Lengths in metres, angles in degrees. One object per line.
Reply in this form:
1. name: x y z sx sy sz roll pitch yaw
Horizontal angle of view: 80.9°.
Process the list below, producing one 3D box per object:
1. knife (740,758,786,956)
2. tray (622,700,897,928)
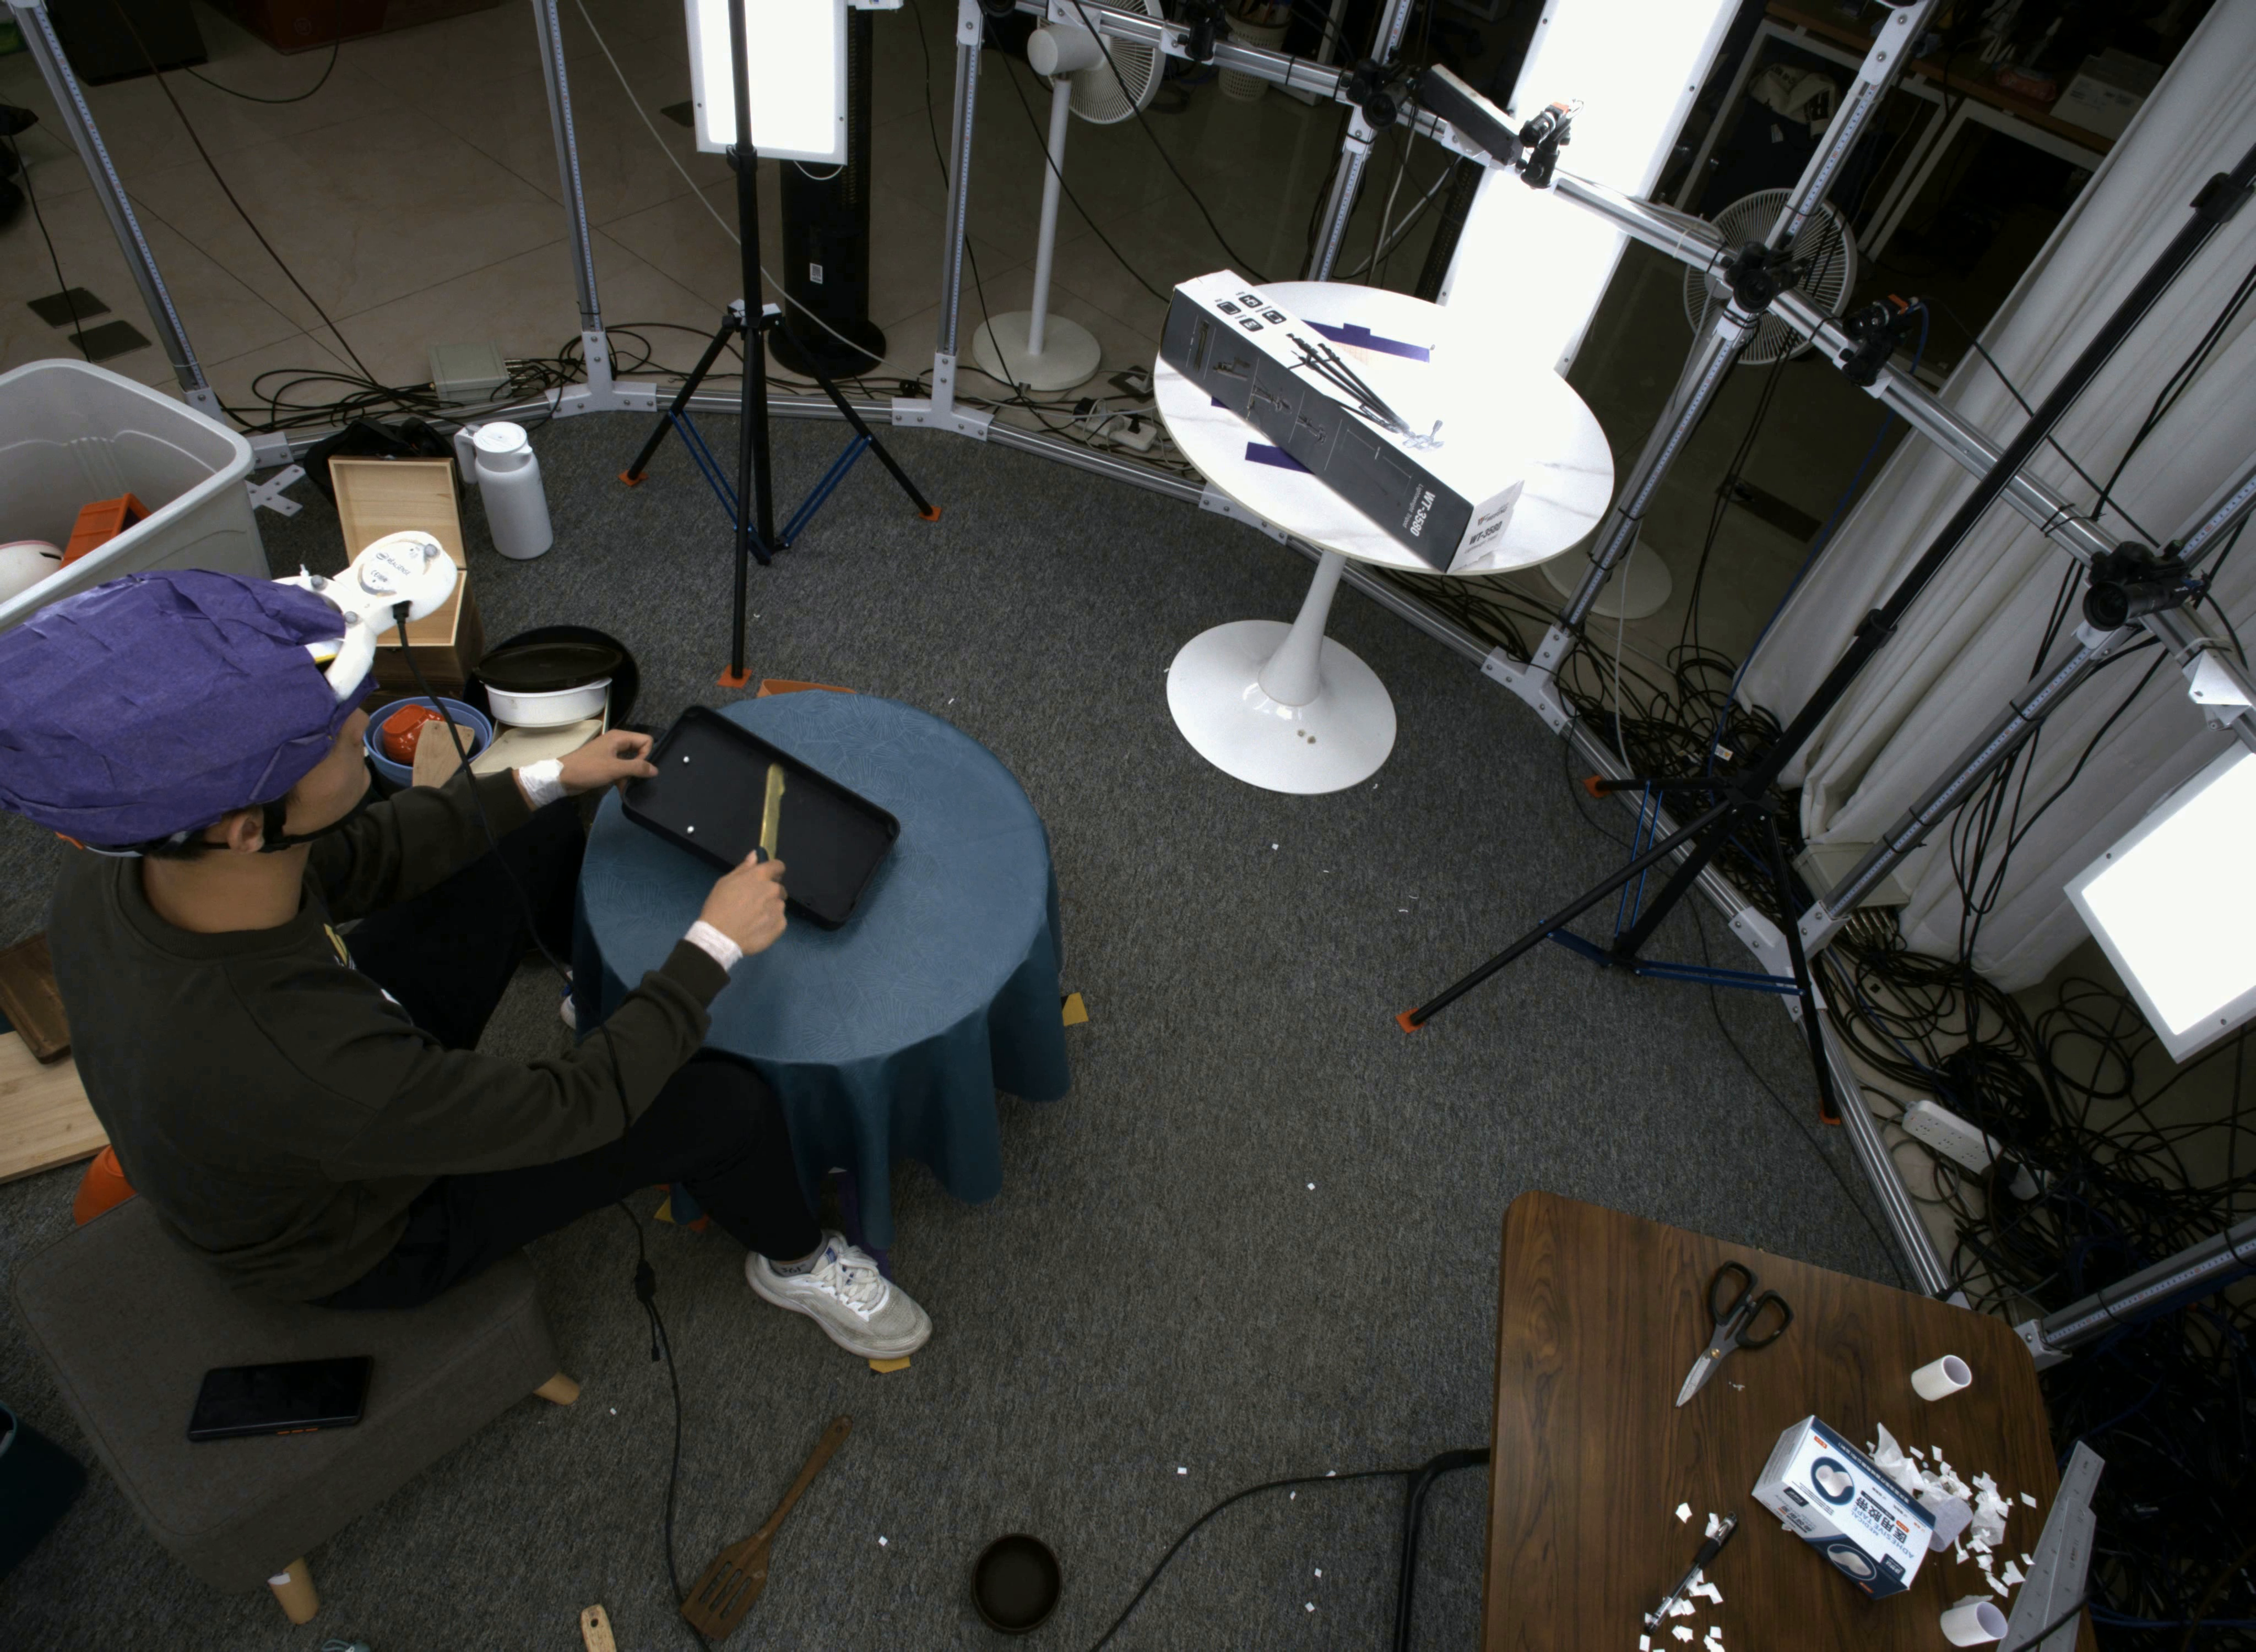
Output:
1. knife: -0.435 0.034 1.563 0.027 0.083 0.284 0 56 -1
2. tray: -0.469 -0.015 1.652 0.321 0.037 0.182 30 54 -14
